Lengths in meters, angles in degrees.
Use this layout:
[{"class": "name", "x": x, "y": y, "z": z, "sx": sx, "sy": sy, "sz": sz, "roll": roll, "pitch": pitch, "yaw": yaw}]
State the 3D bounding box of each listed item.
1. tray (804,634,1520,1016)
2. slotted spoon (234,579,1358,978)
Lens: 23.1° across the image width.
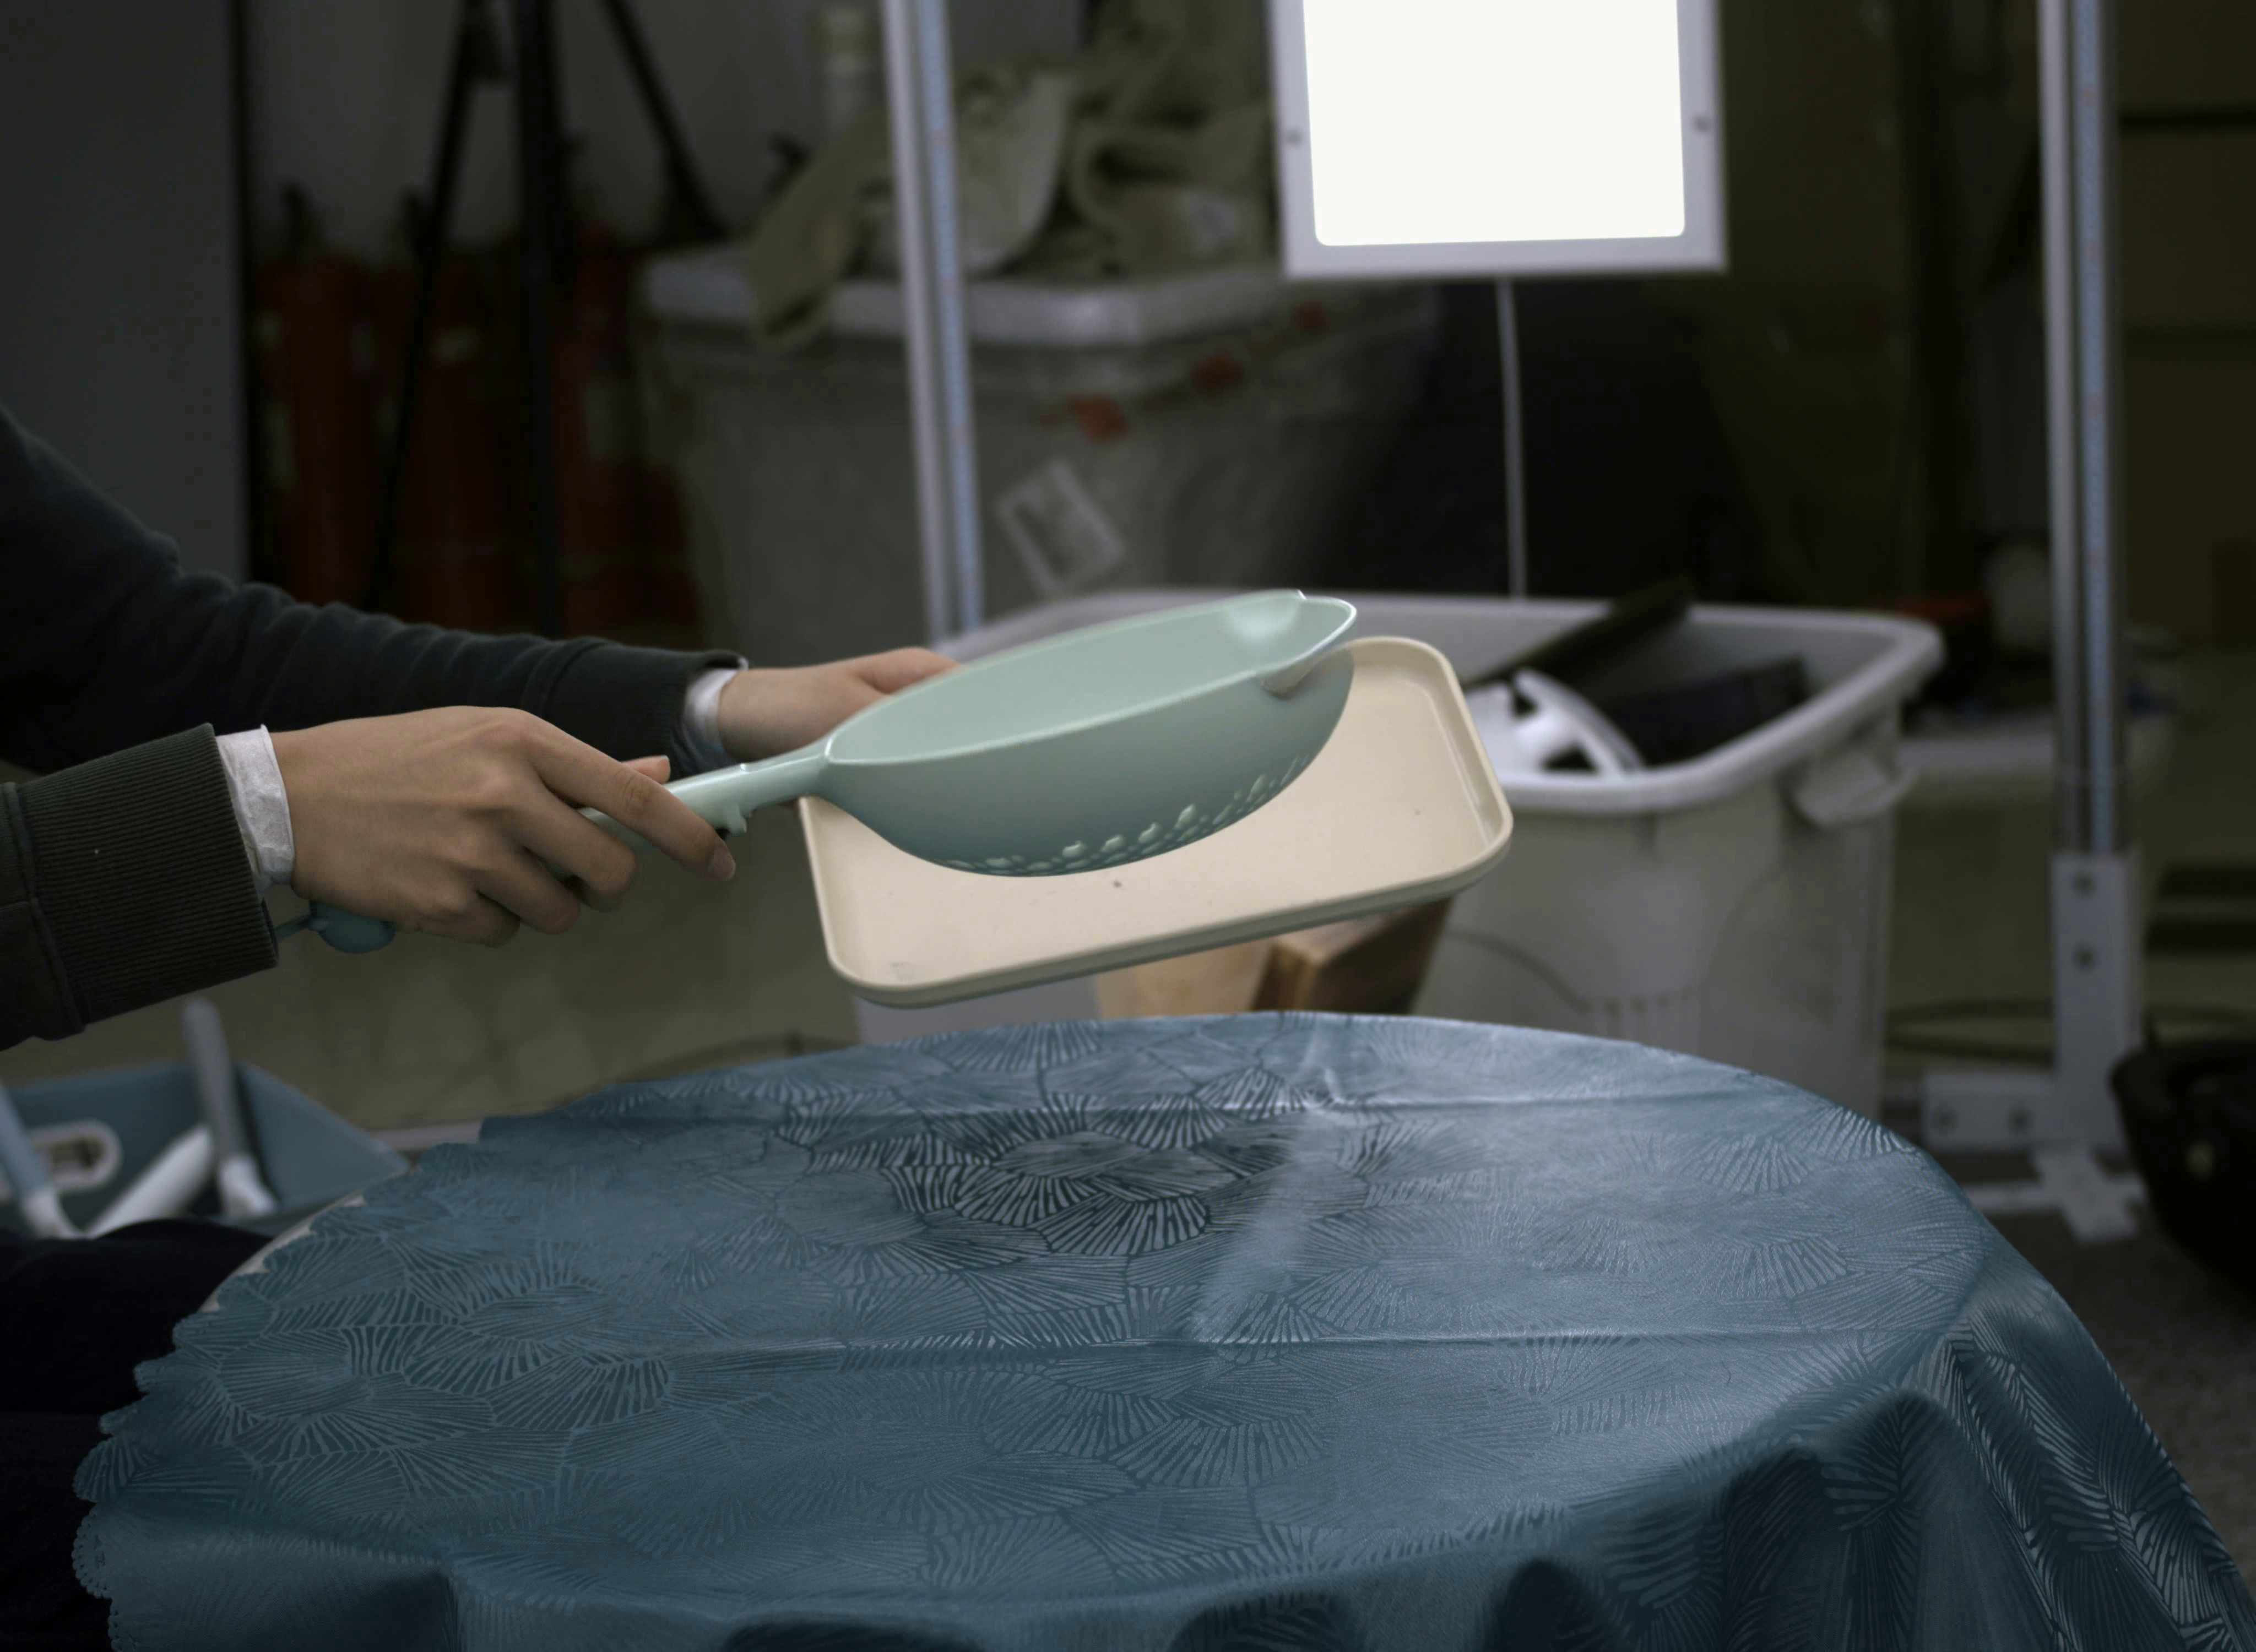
[{"class": "tray", "x": 0.010, "y": 0.000, "z": 1.916, "sx": 0.239, "sy": 0.017, "sz": 0.171, "roll": -13, "pitch": 31, "yaw": 0}, {"class": "slotted spoon", "x": -0.103, "y": -0.011, "z": 1.700, "sx": 0.358, "sy": 0.075, "sz": 0.169, "roll": -7, "pitch": 12, "yaw": 0}]
